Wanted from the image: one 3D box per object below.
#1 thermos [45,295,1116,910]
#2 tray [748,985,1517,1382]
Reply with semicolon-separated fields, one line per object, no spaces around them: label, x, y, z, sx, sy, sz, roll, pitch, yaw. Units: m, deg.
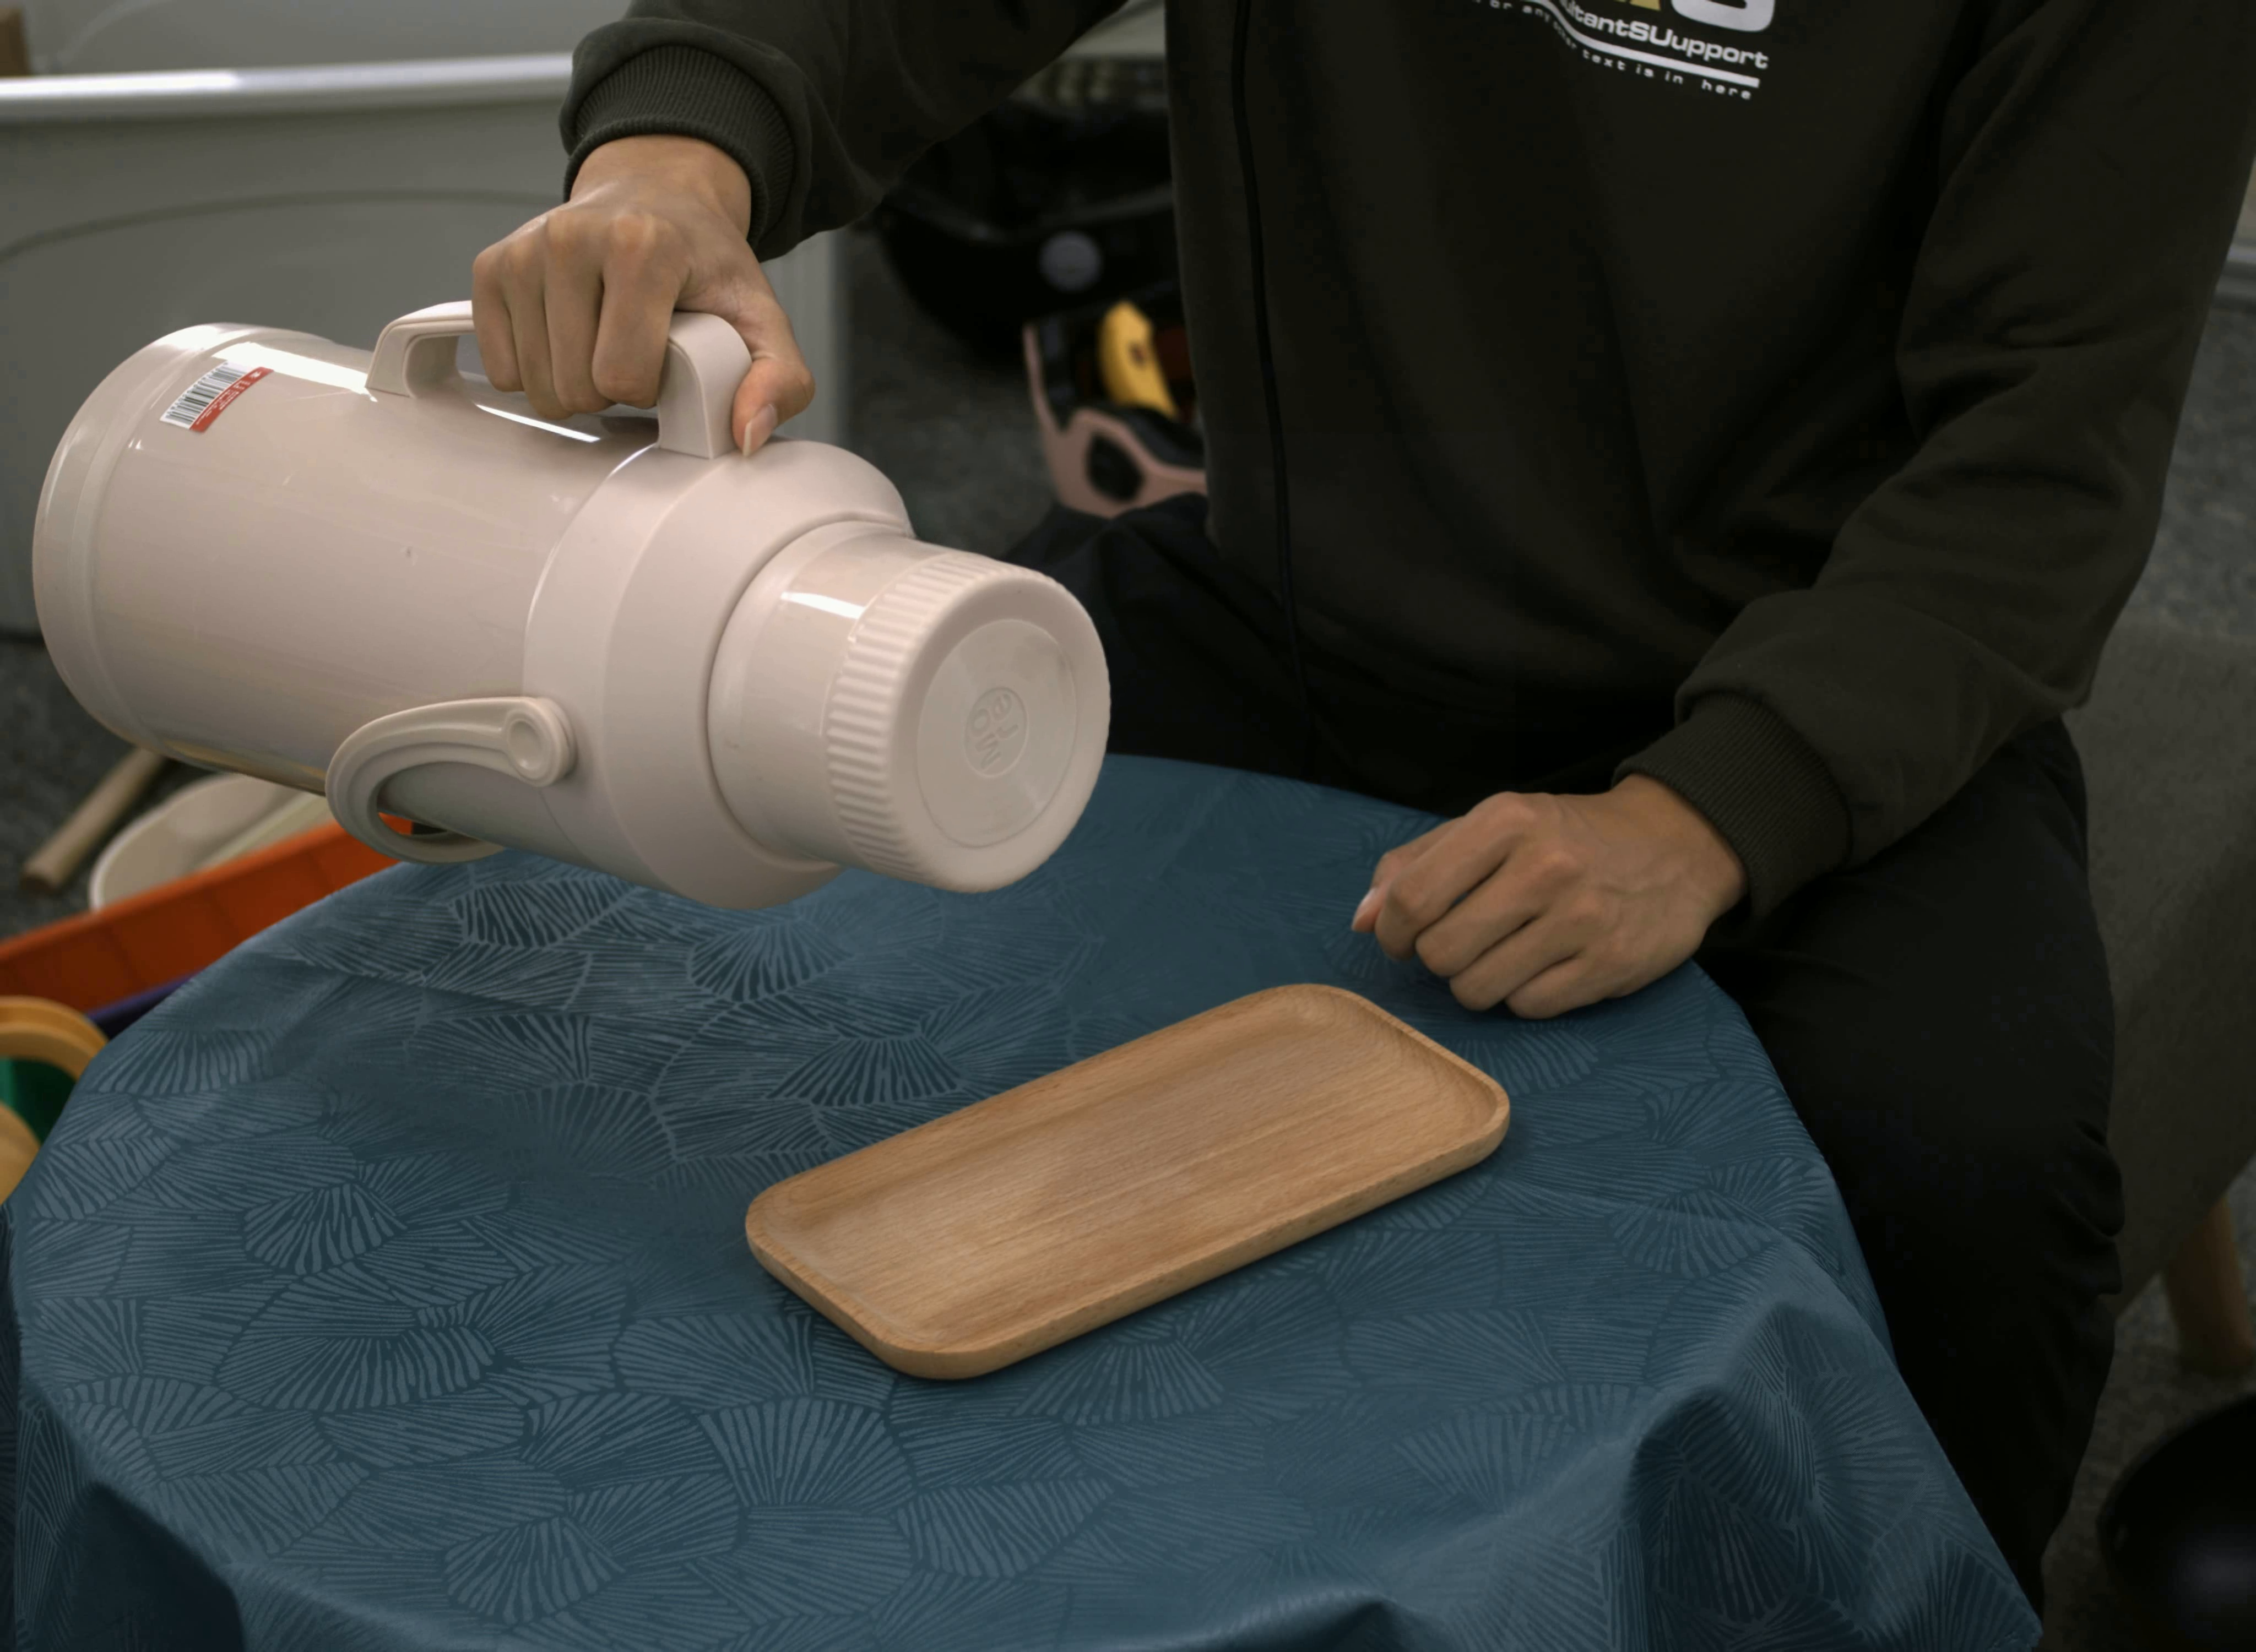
thermos;-0.184;-0.080;1.892;0.404;0.205;0.177;14;28;42
tray;0.003;0.117;1.858;0.253;0.022;0.131;-19;34;-30
